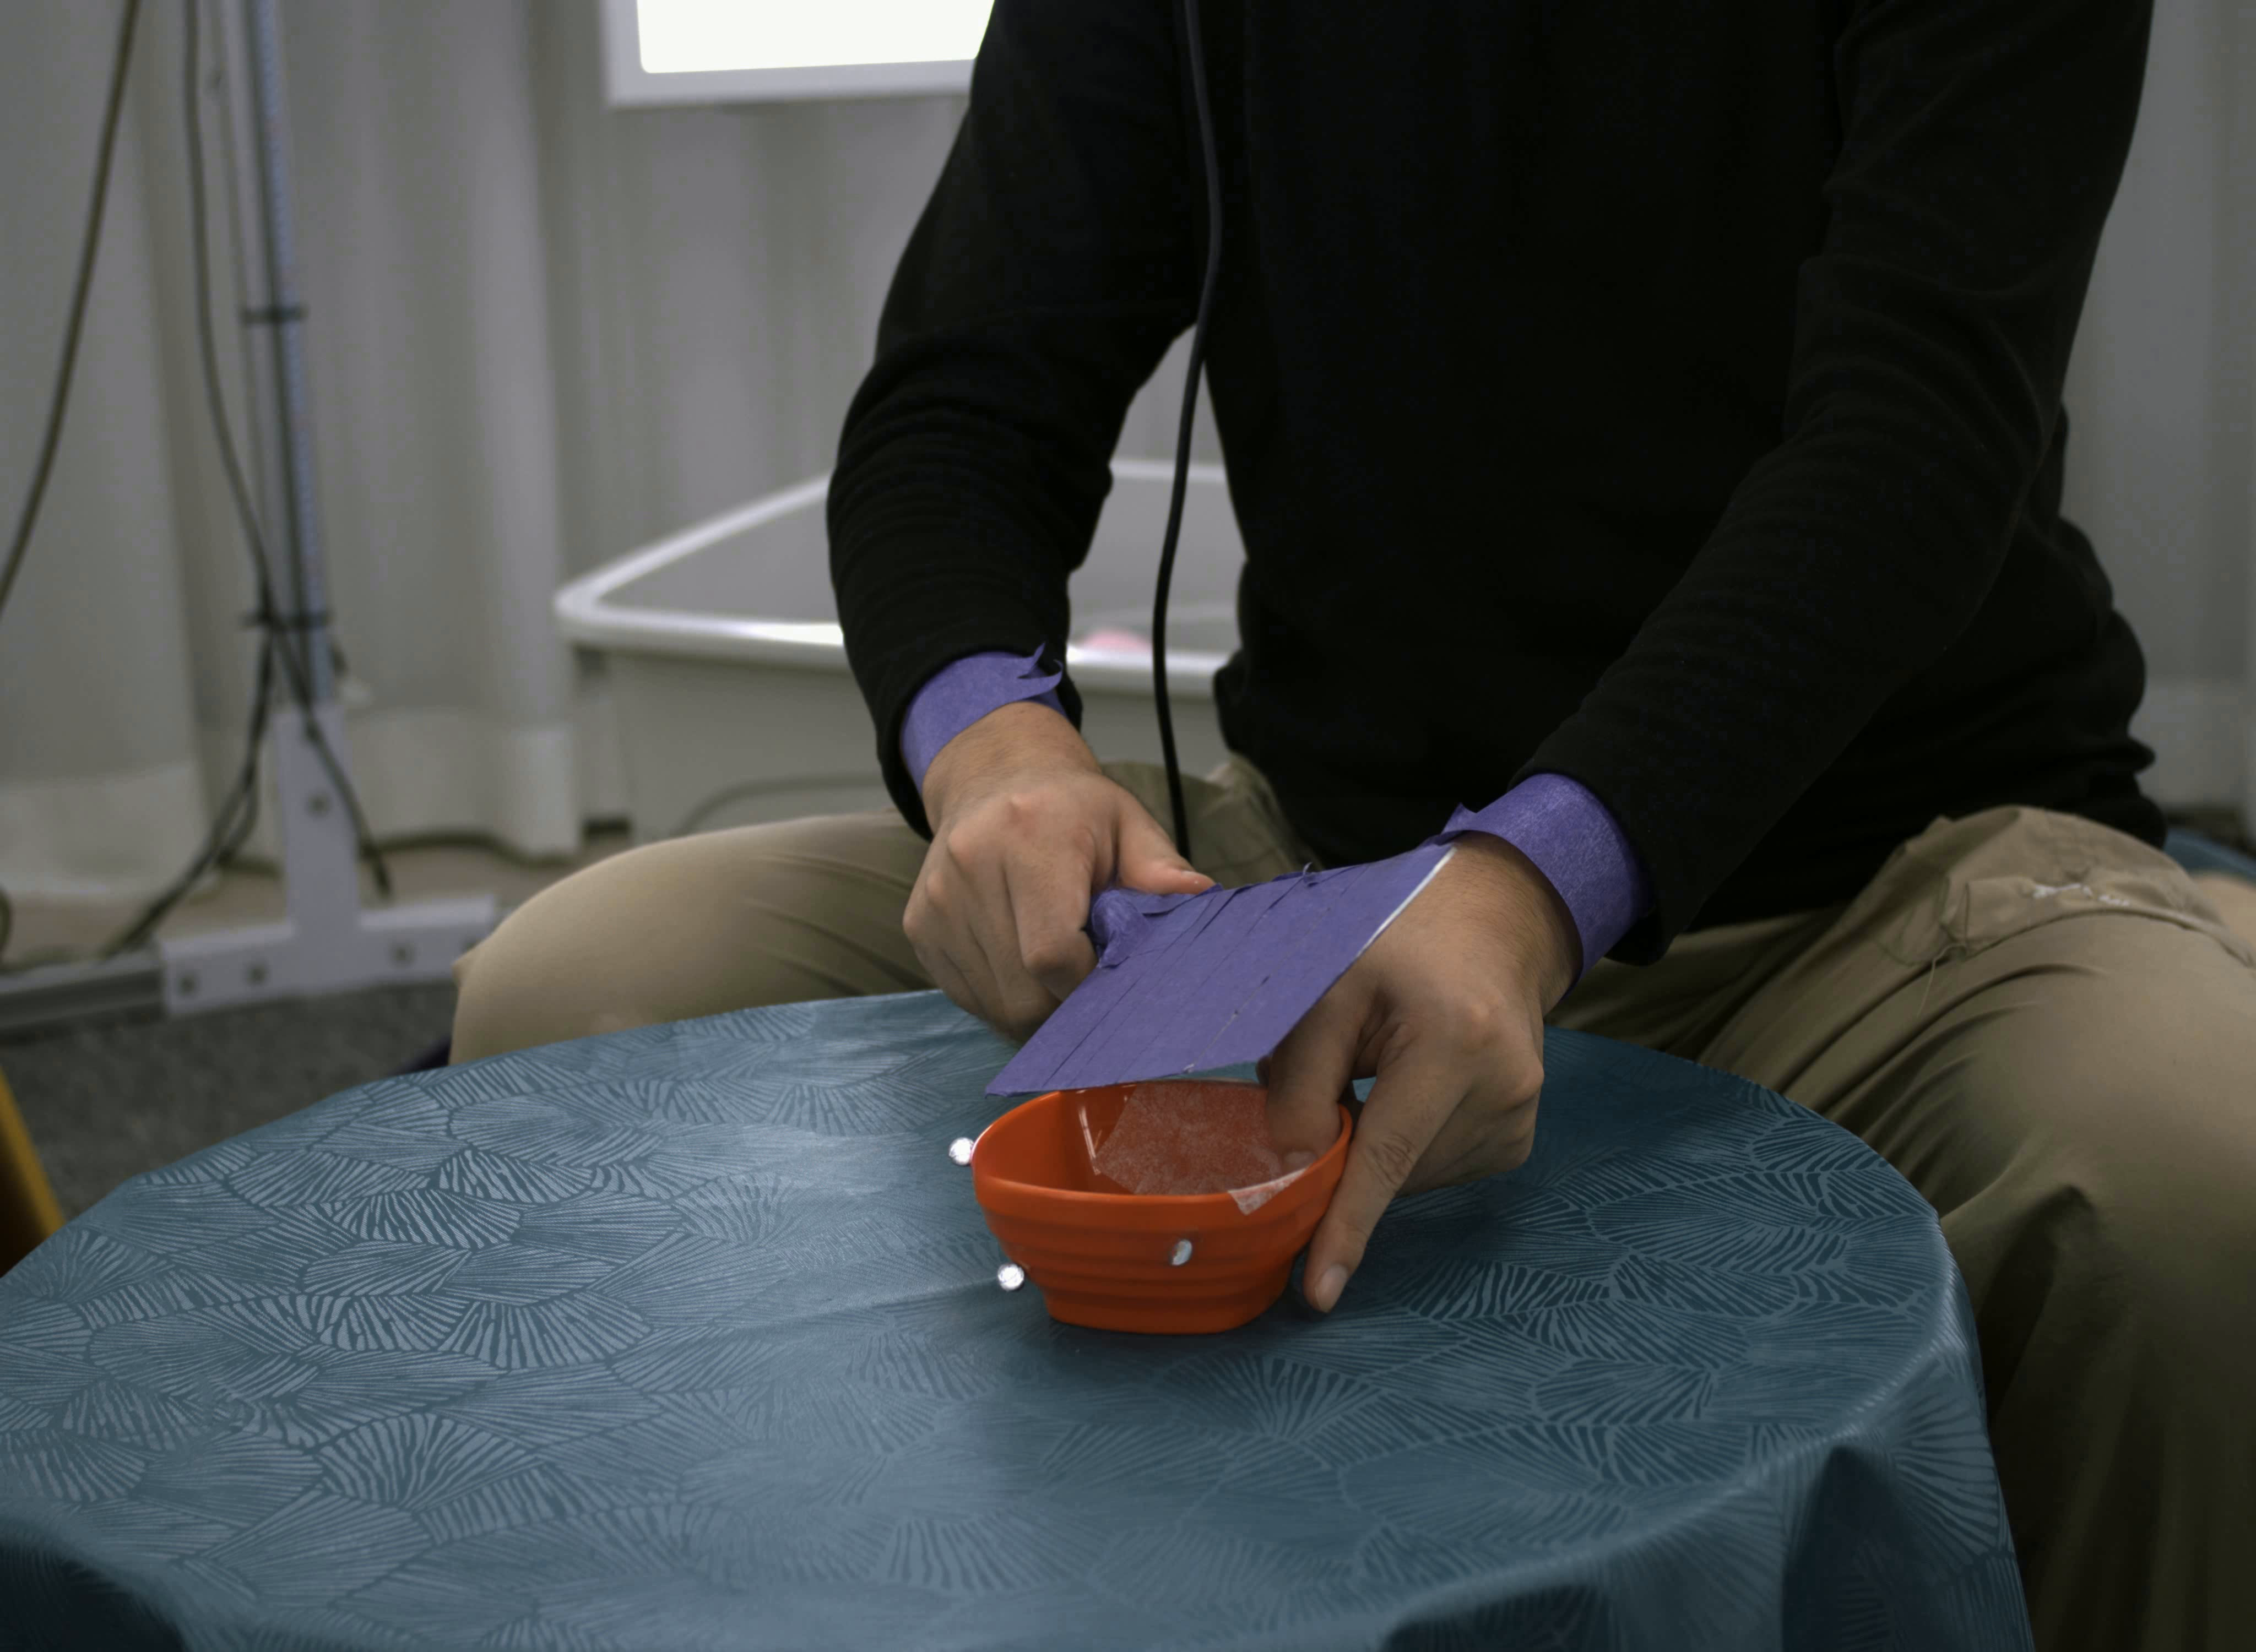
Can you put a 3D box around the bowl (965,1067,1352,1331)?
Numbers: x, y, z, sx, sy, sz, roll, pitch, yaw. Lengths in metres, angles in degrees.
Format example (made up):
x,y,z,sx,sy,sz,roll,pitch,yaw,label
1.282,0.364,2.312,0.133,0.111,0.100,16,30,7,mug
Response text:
x,y,z,sx,sy,sz,roll,pitch,yaw,label
0.011,0.112,1.612,0.118,0.051,0.120,-3,16,1,bowl

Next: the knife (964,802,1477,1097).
x,y,z,sx,sy,sz,roll,pitch,yaw,label
0.002,0.045,1.685,0.104,0.032,0.315,-46,11,-23,knife
